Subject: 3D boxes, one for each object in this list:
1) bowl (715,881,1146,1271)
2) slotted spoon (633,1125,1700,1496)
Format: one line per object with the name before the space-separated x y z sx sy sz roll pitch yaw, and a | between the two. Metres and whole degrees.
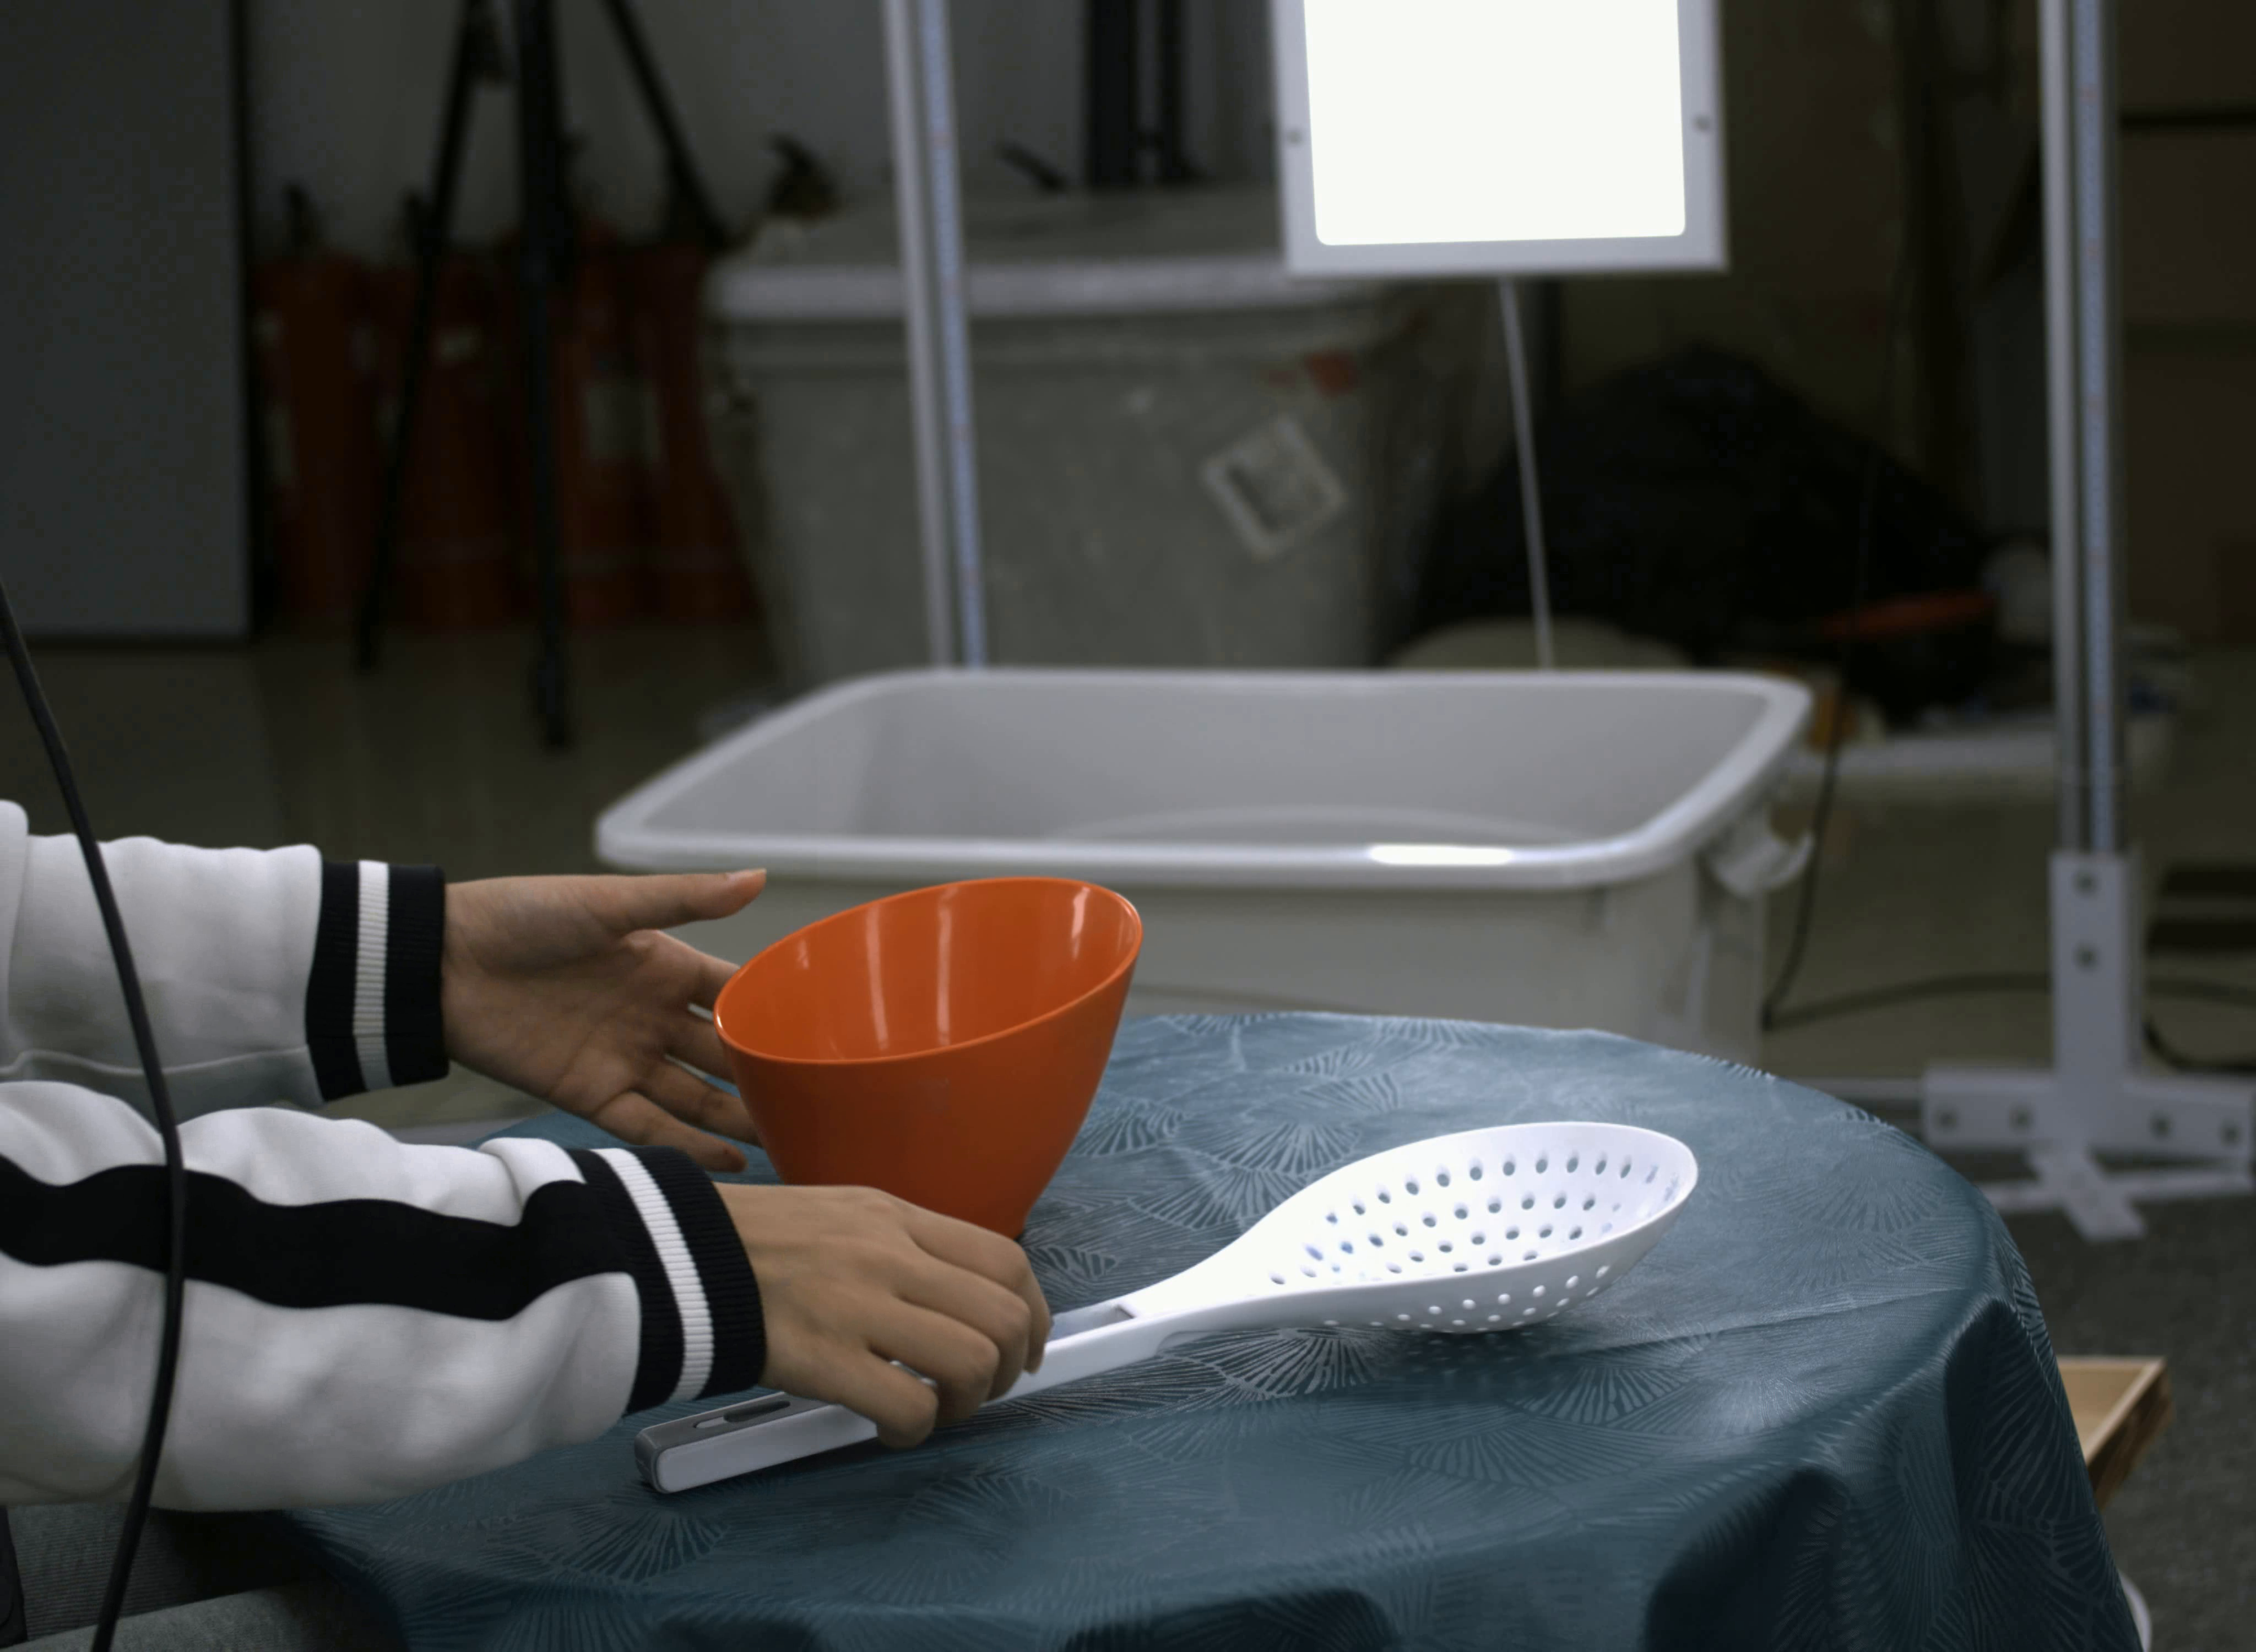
bowl | -0.064 0.088 1.867 0.147 0.105 0.148 -4 16 0
slotted spoon | 0.015 0.150 1.701 0.344 0.046 0.138 -10 13 -17
